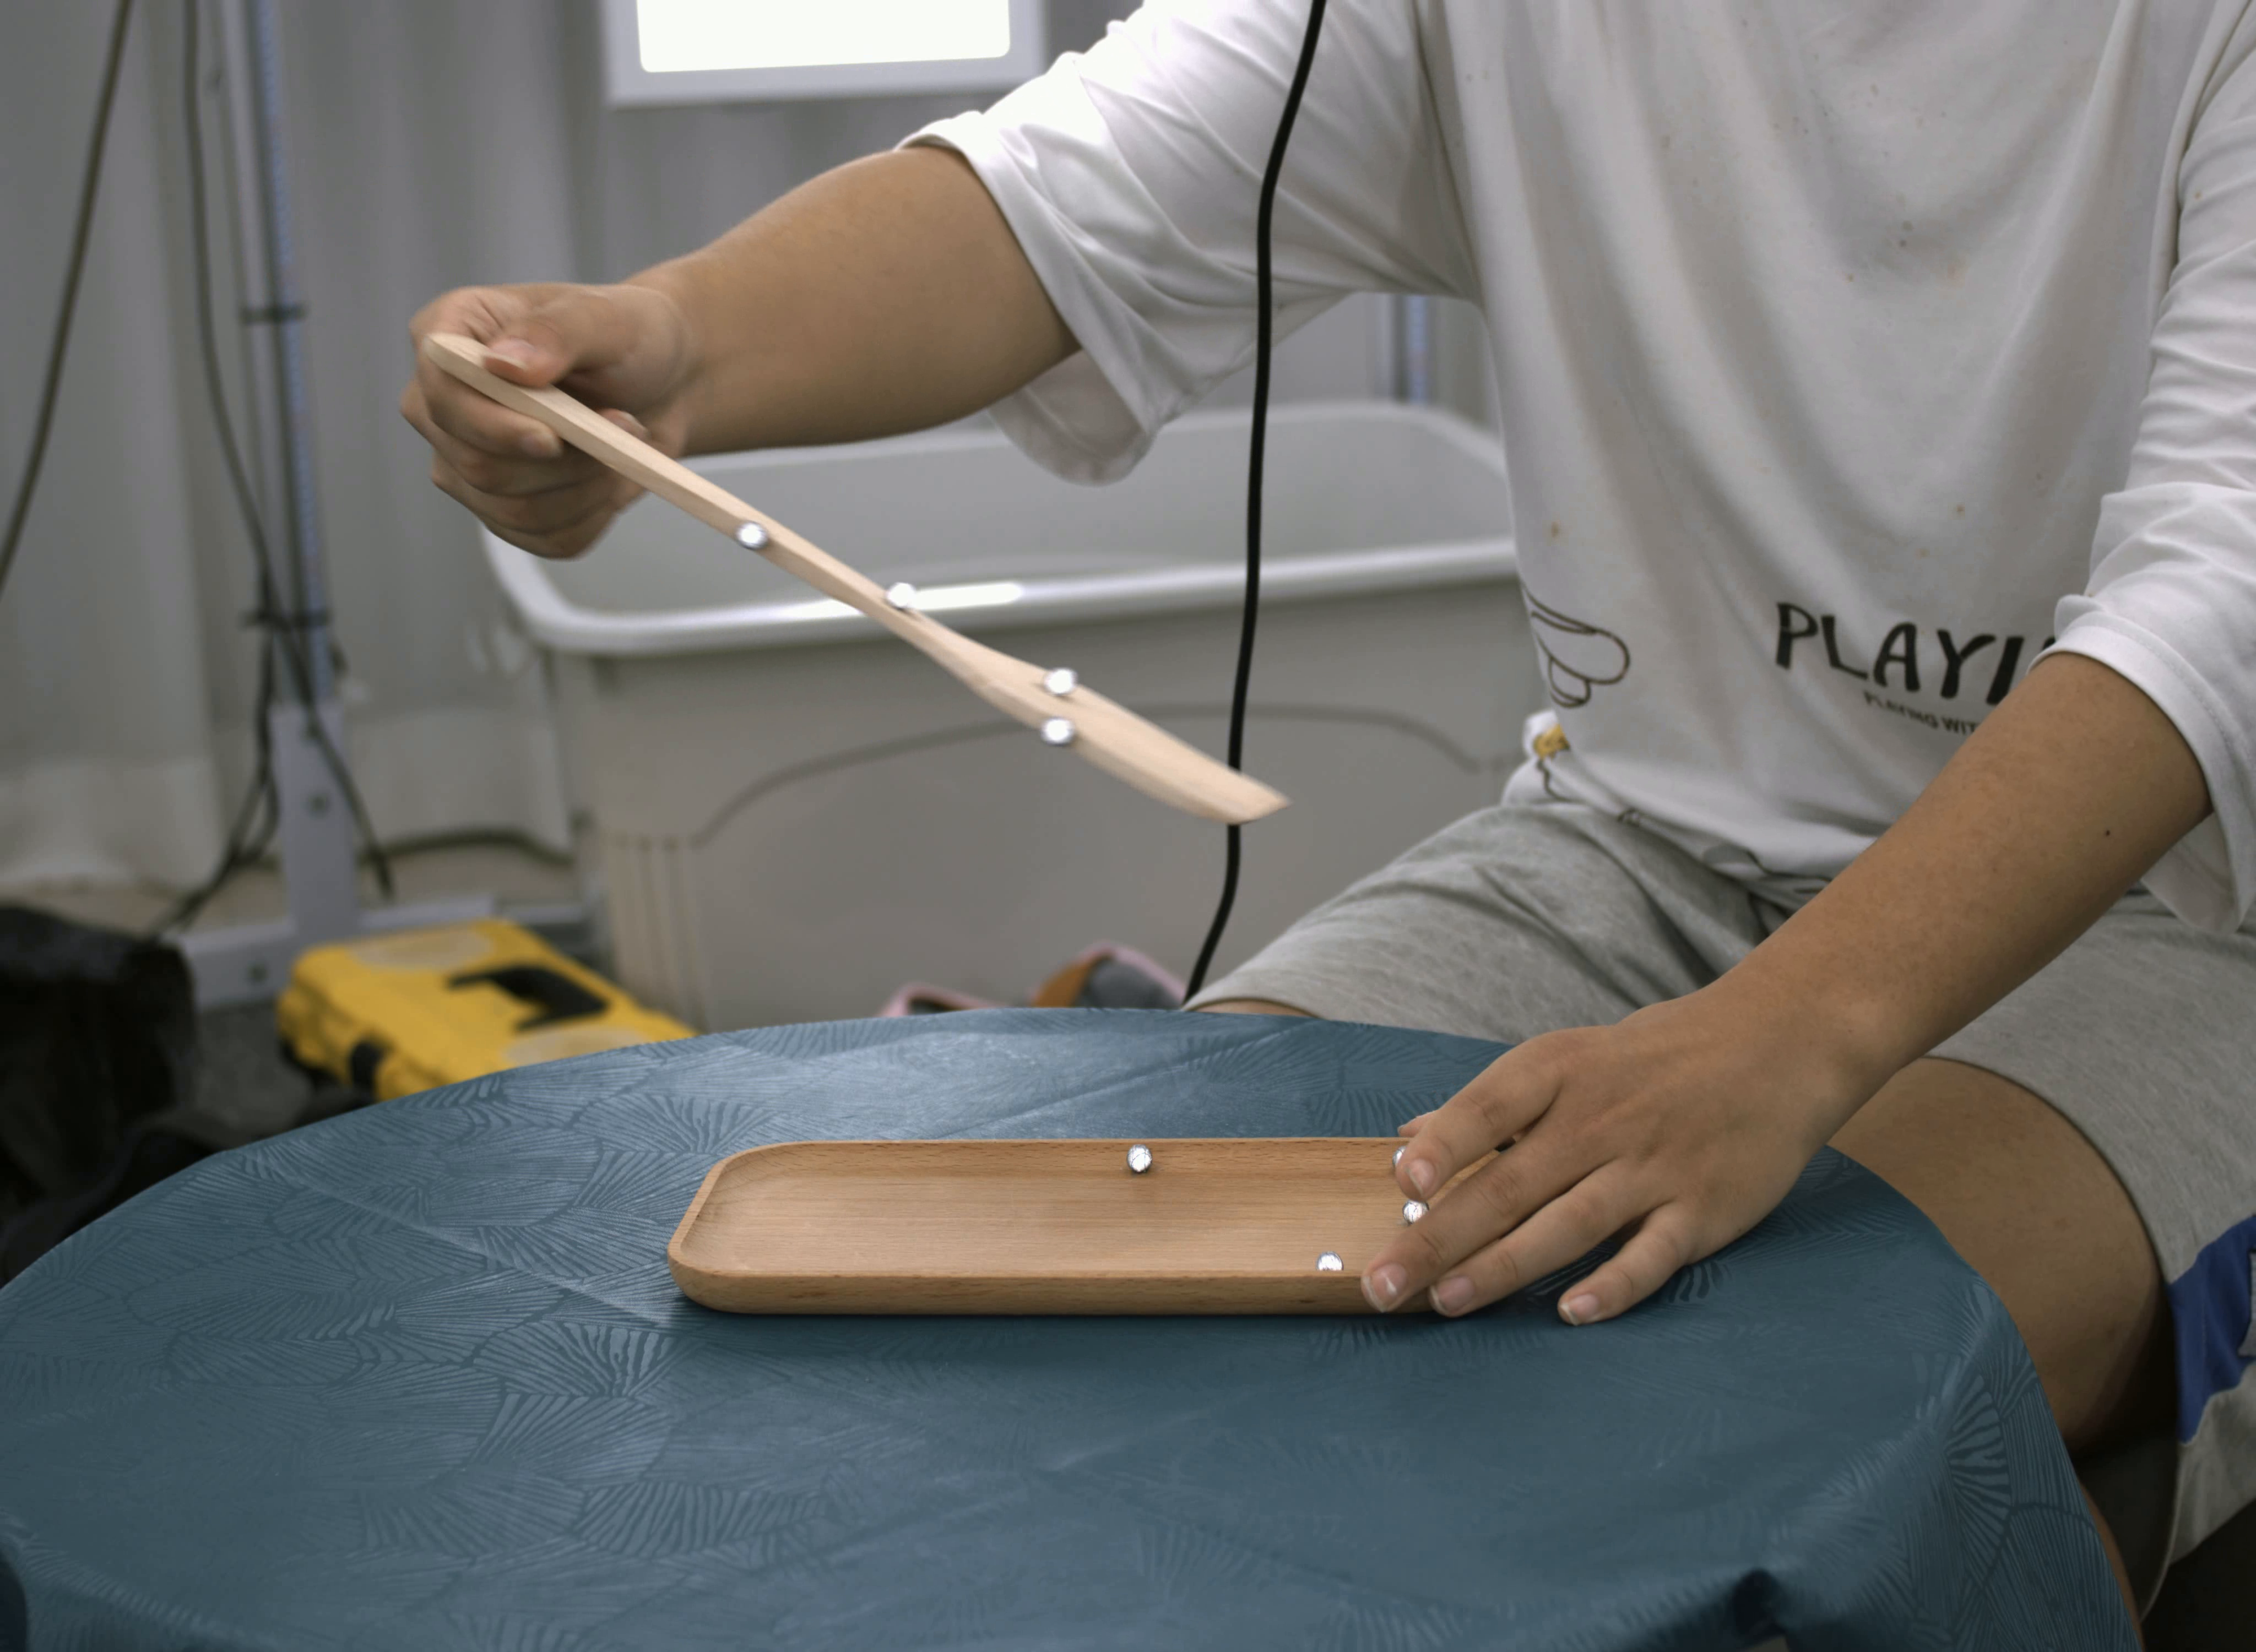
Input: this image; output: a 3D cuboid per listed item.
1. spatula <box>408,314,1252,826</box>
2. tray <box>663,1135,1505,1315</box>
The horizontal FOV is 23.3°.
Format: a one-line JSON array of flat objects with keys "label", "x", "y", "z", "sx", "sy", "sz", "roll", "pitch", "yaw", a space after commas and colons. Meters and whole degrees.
[{"label": "spatula", "x": -0.093, "y": -0.077, "z": 1.632, "sx": 0.294, "sy": 0.010, "sz": 0.072, "roll": 32, "pitch": 12, "yaw": 10}, {"label": "tray", "x": -0.012, "y": 0.122, "z": 1.665, "sx": 0.250, "sy": 0.023, "sz": 0.131, "roll": -1, "pitch": 12, "yaw": 8}]
